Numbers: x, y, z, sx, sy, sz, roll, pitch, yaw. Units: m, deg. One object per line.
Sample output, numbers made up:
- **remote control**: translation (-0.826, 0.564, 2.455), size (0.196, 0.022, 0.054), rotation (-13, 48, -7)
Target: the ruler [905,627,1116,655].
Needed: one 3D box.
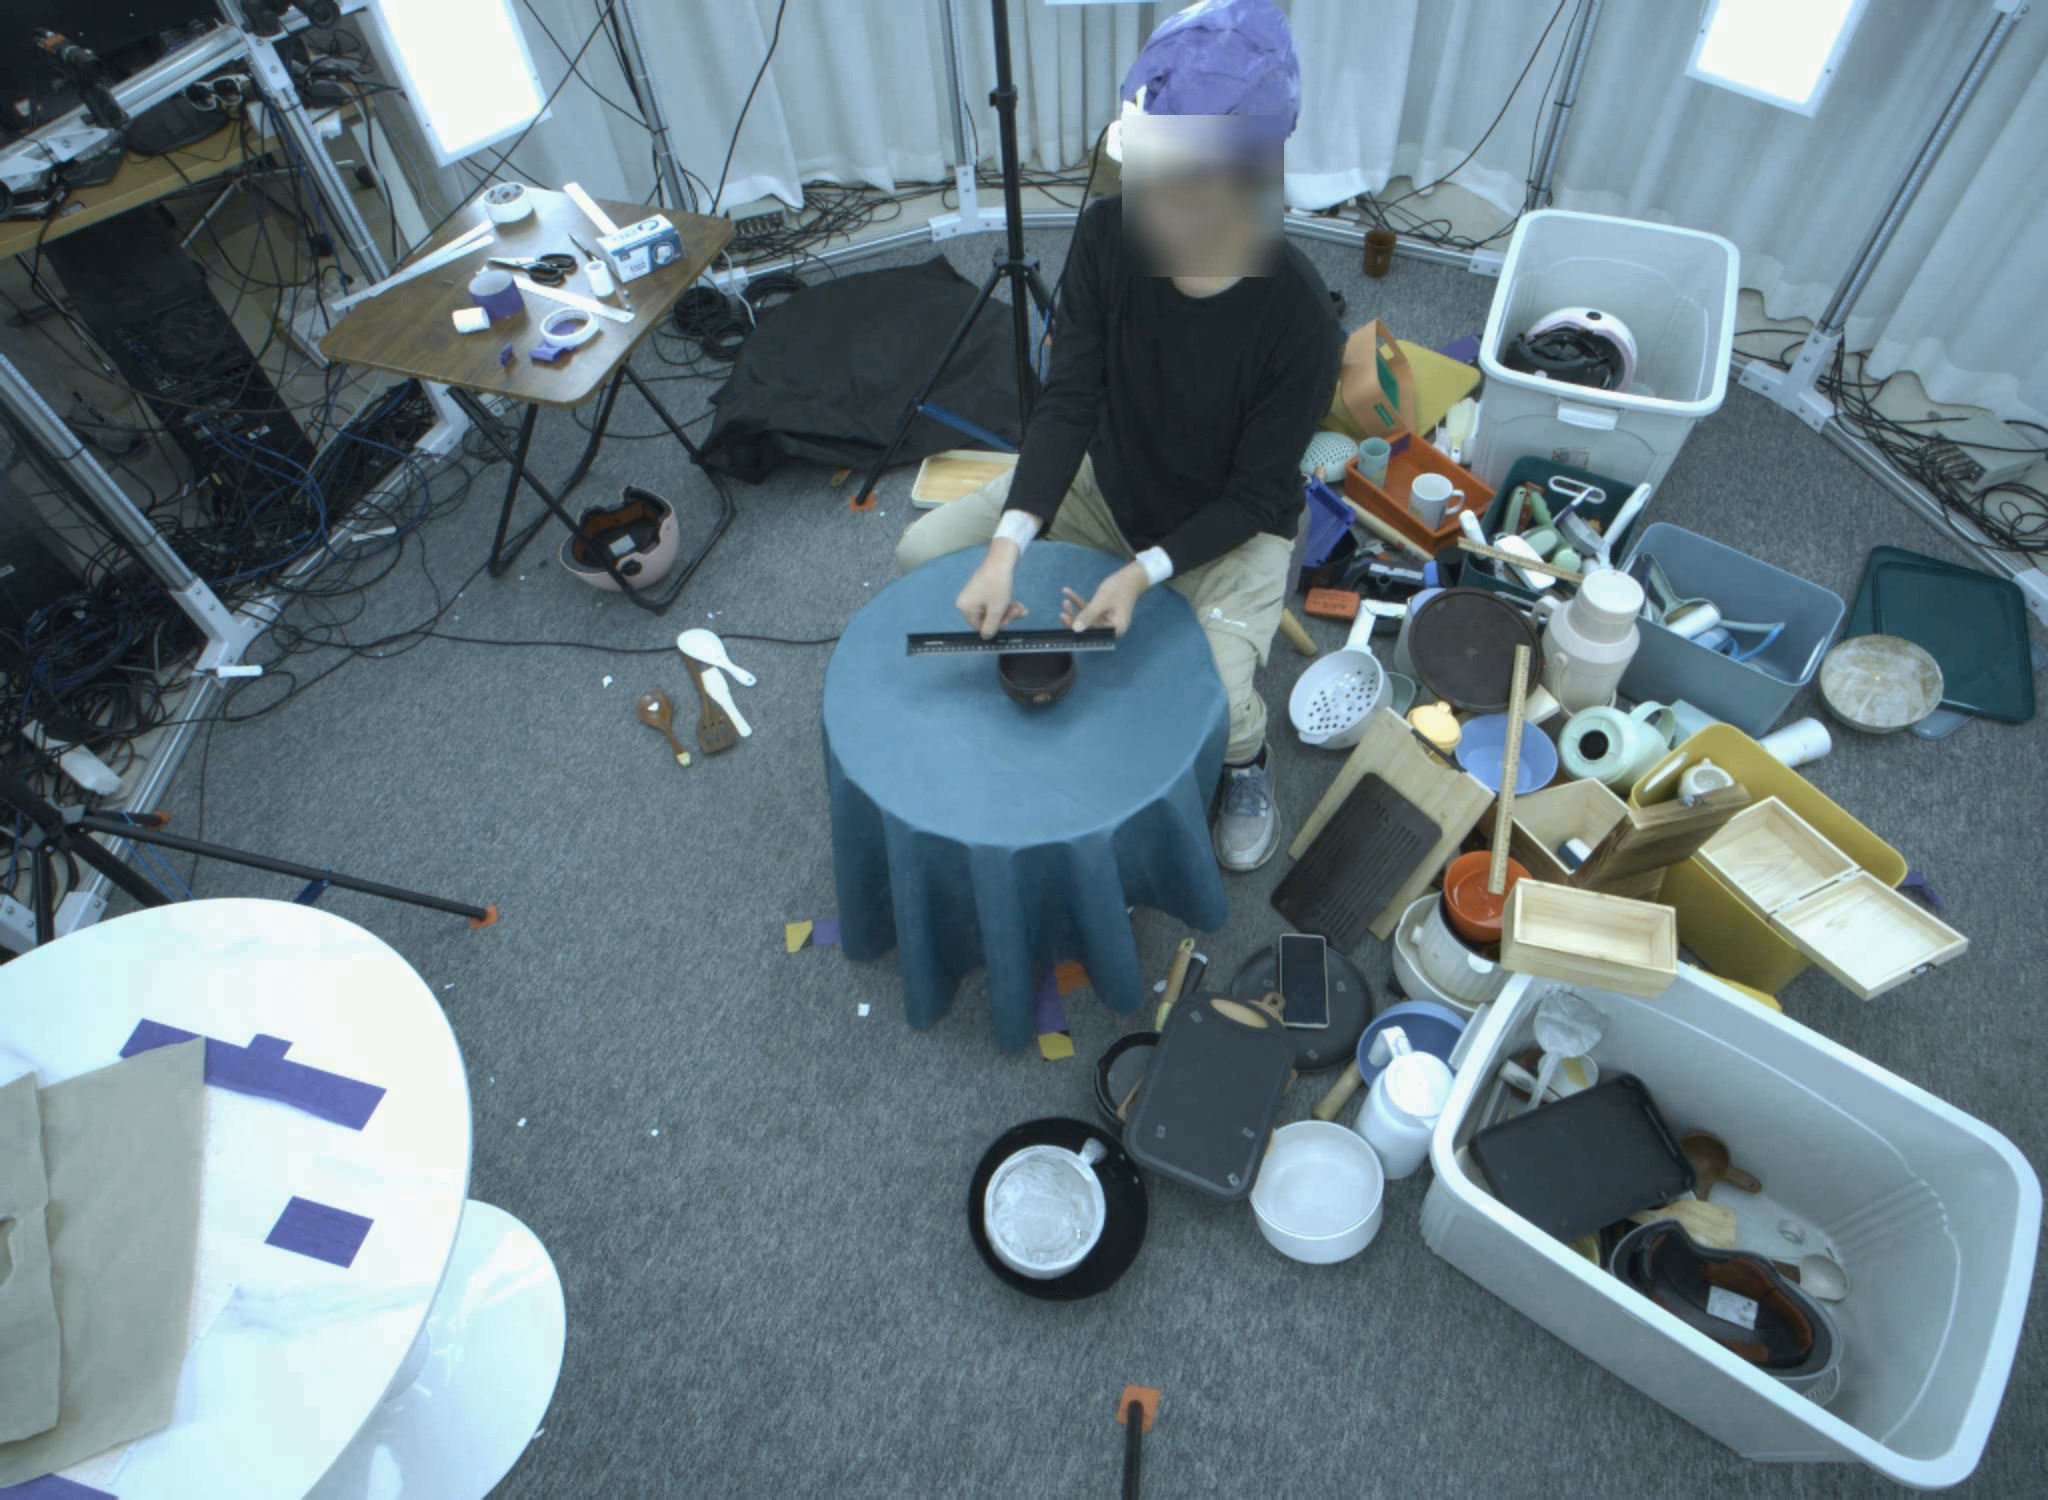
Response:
- **ruler**: translation (-0.022, -0.162, 1.809), size (0.312, 0.017, 0.039), rotation (-1, 57, 3)

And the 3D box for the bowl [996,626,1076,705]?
- **bowl**: translation (0.019, -0.117, 1.821), size (0.118, 0.070, 0.117), rotation (-1, 60, 3)
